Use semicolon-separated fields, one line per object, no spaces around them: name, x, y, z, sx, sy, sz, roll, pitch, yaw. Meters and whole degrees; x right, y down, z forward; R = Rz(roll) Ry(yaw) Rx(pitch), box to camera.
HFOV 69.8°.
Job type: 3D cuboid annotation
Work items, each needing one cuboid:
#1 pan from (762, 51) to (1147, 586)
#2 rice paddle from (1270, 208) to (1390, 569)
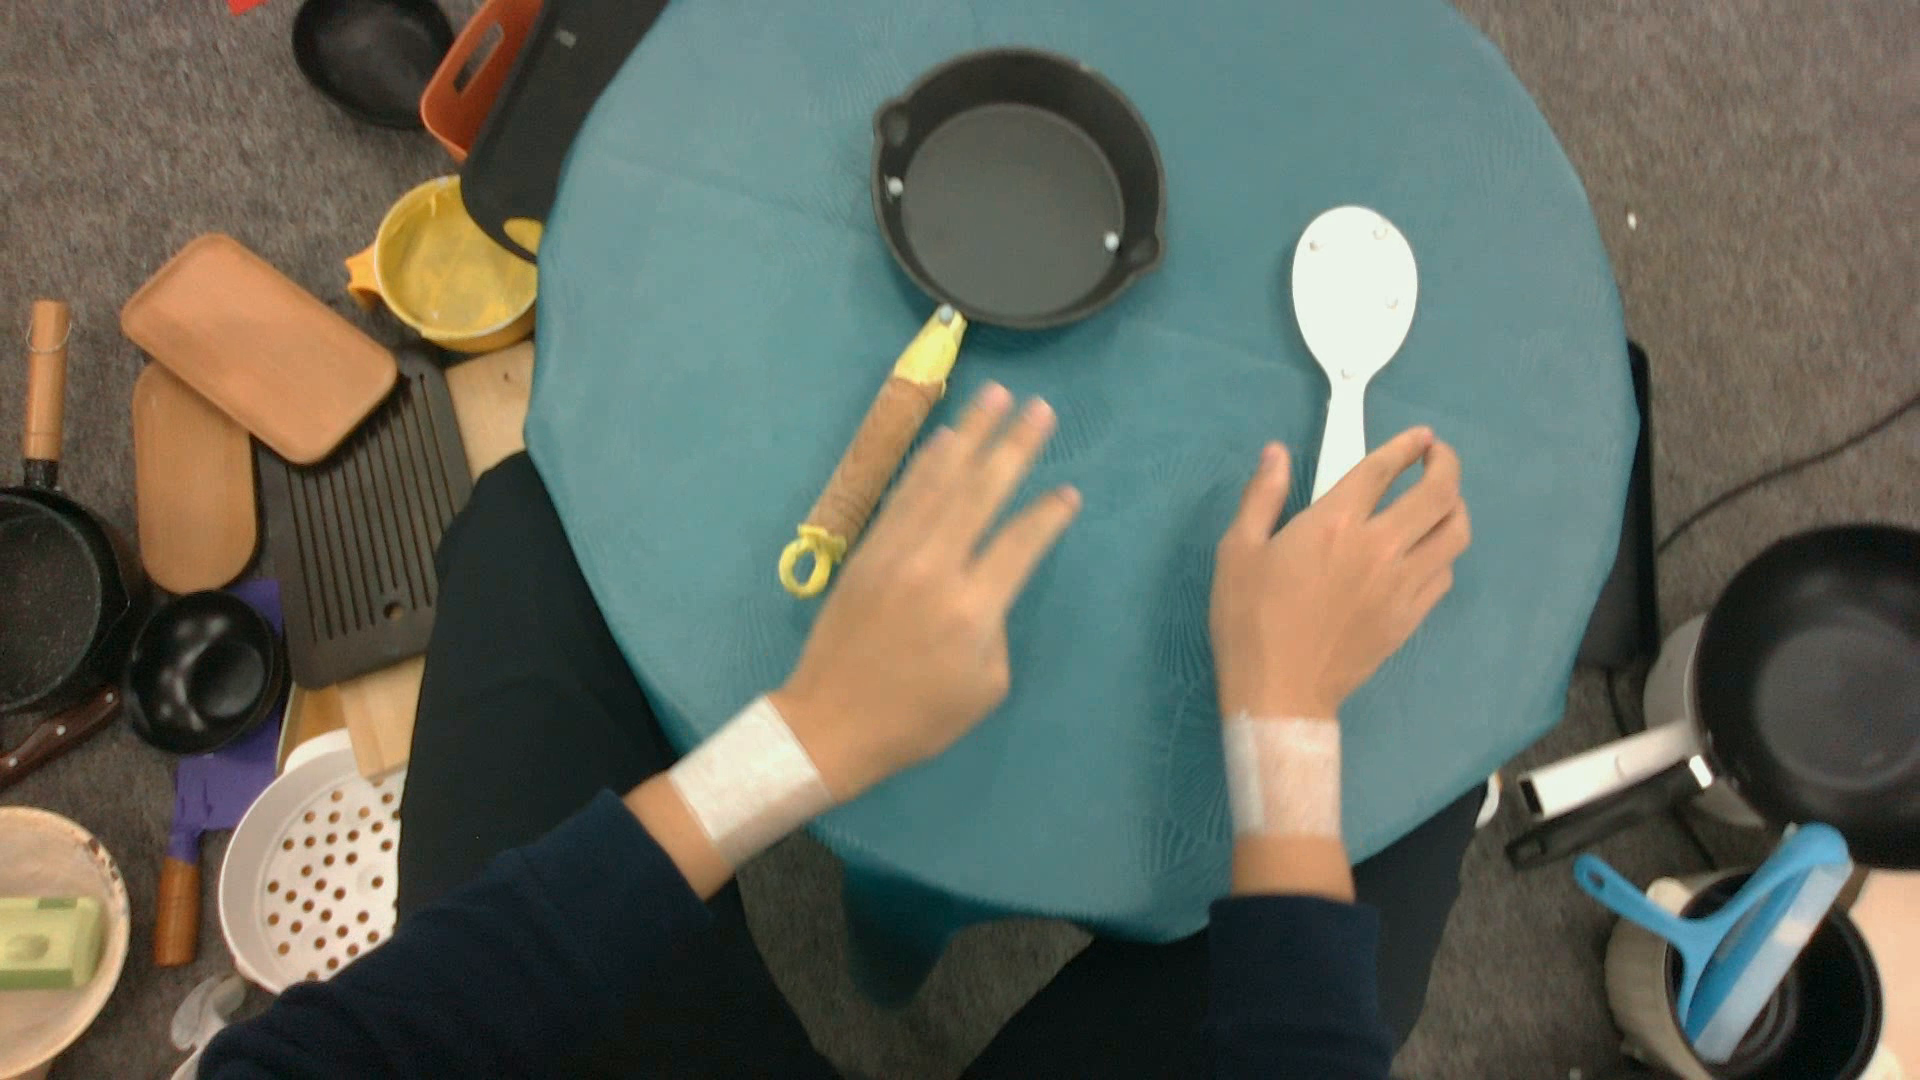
pan;-0.018;-0.116;0.714;0.169;0.049;0.325;29;73;1
rice paddle;0.197;-0.087;0.741;0.069;0.029;0.205;8;76;-6
